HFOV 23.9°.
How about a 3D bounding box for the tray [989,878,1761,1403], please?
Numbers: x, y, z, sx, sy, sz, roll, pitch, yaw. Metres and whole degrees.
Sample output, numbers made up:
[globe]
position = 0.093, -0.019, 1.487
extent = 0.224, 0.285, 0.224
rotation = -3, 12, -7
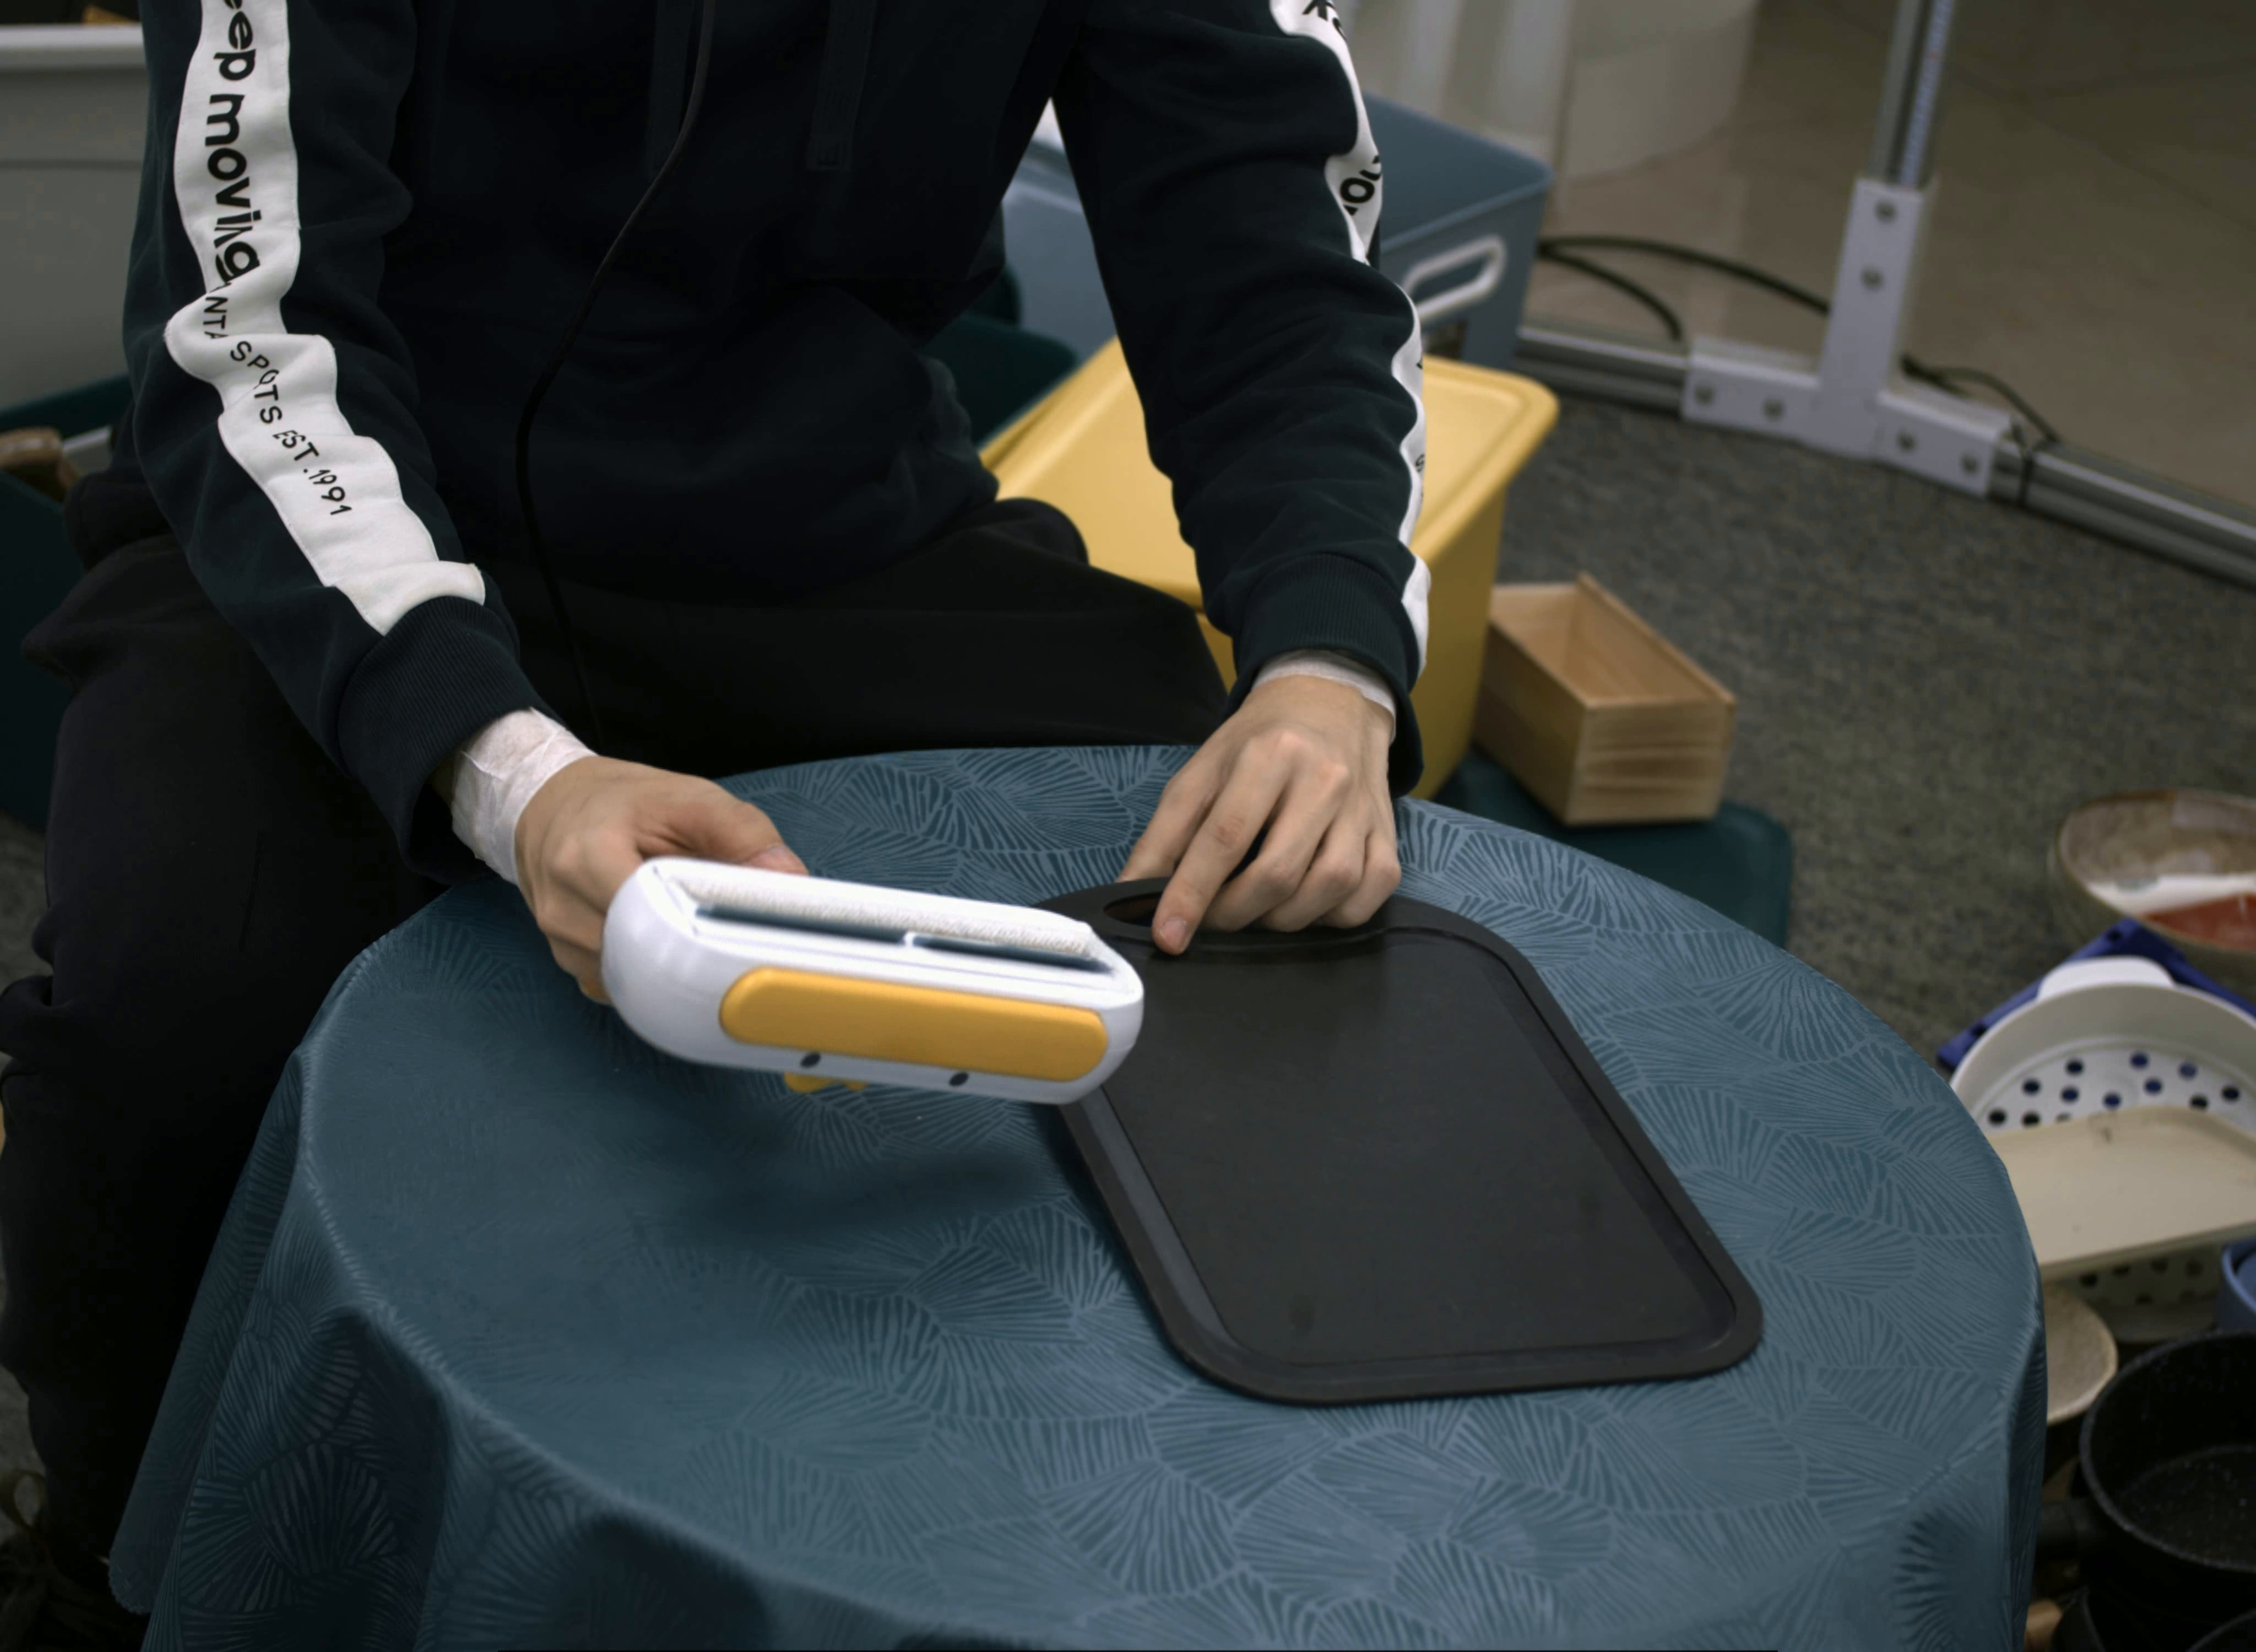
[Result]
[tray]
position = 0.076, 0.100, 1.842
extent = 0.210, 0.010, 0.328
rotation = -1, 30, -17

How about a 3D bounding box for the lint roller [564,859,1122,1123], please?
[lint roller]
position = -0.119, 0.052, 1.799
extent = 0.191, 0.074, 0.193
rotation = 9, 5, -27
